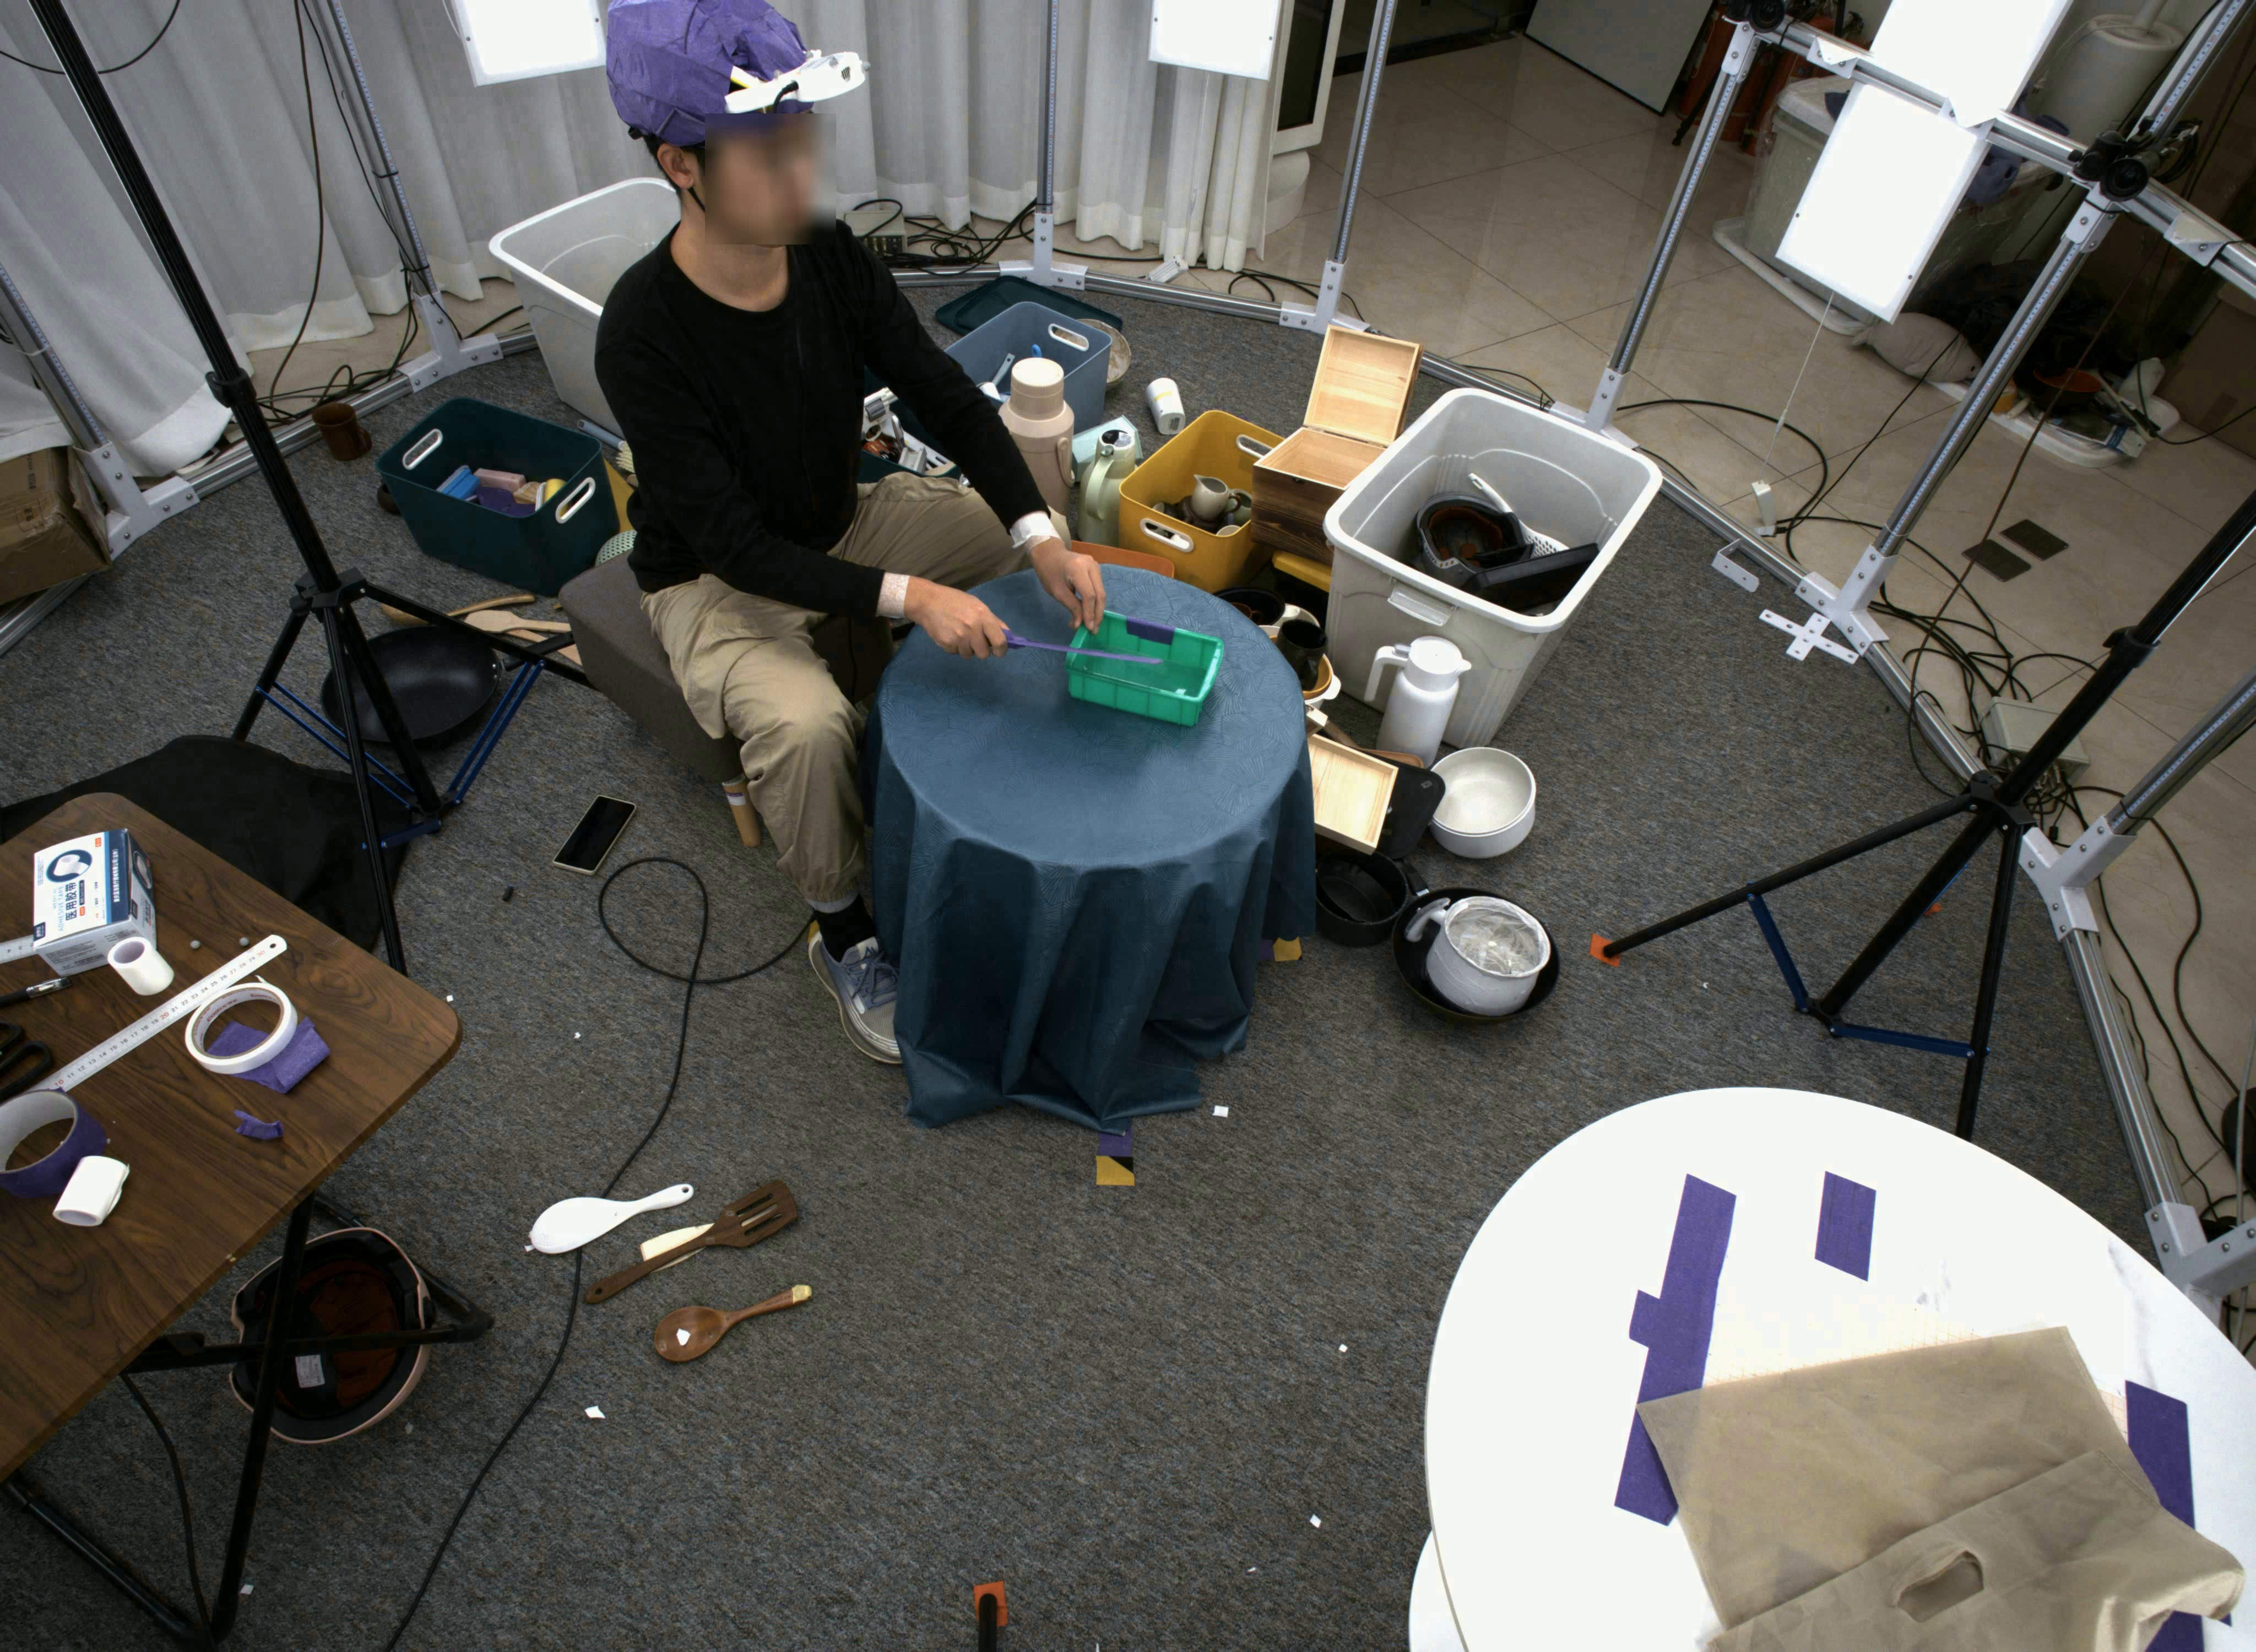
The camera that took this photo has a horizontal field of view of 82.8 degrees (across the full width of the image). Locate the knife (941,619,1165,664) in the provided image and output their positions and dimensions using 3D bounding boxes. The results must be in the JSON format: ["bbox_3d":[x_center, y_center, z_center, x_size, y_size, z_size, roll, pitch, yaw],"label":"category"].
[{"bbox_3d":[-0.108,-0.248,1.738,0.316,0.032,0.104,7,10,9],"label":"knife"}]

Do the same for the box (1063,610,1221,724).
[{"bbox_3d":[0.020,-0.224,1.825,0.211,0.064,0.141,13,48,9],"label":"box"}]
